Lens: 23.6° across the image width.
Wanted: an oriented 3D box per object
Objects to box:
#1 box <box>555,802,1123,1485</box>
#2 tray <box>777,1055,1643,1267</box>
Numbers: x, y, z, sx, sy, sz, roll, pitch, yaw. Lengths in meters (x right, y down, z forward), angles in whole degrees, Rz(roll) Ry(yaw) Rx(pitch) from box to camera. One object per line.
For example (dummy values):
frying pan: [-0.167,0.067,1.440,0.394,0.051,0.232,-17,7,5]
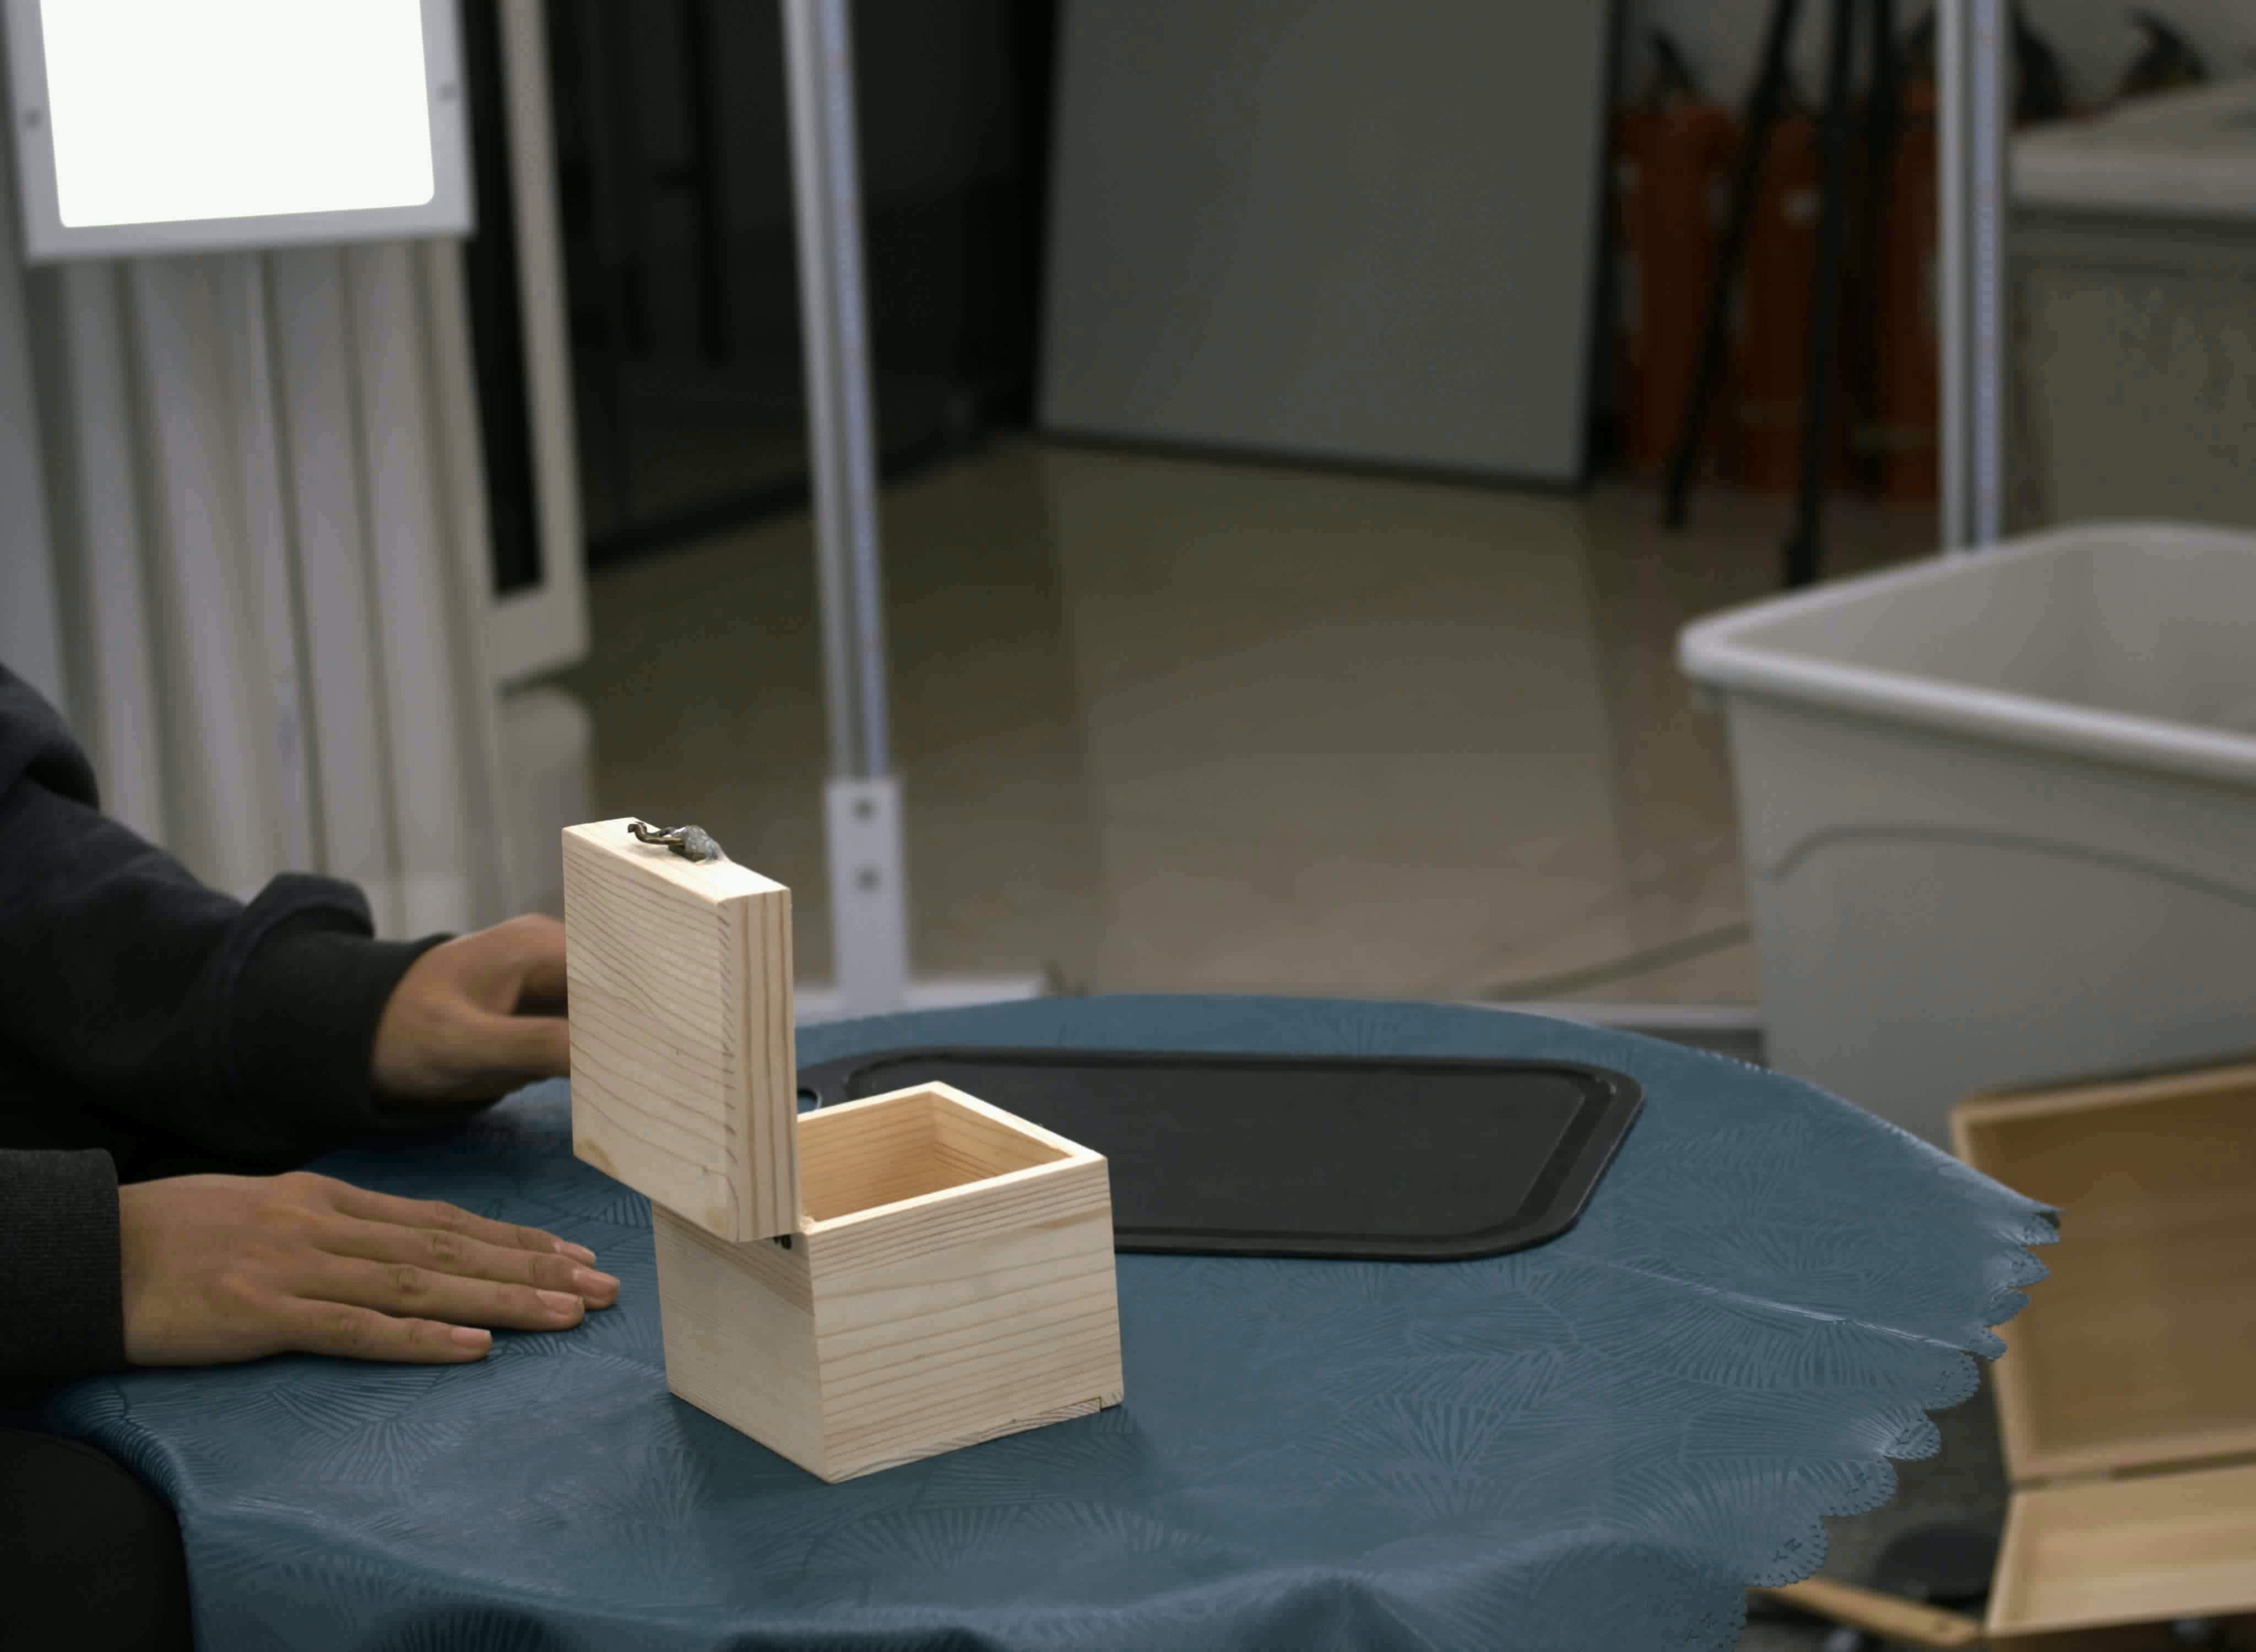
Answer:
box: [-0.082,0.081,1.563,0.131,0.186,0.104,-12,16,-29]
tray: [0.003,0.108,1.809,0.324,0.010,0.209,0,14,17]
